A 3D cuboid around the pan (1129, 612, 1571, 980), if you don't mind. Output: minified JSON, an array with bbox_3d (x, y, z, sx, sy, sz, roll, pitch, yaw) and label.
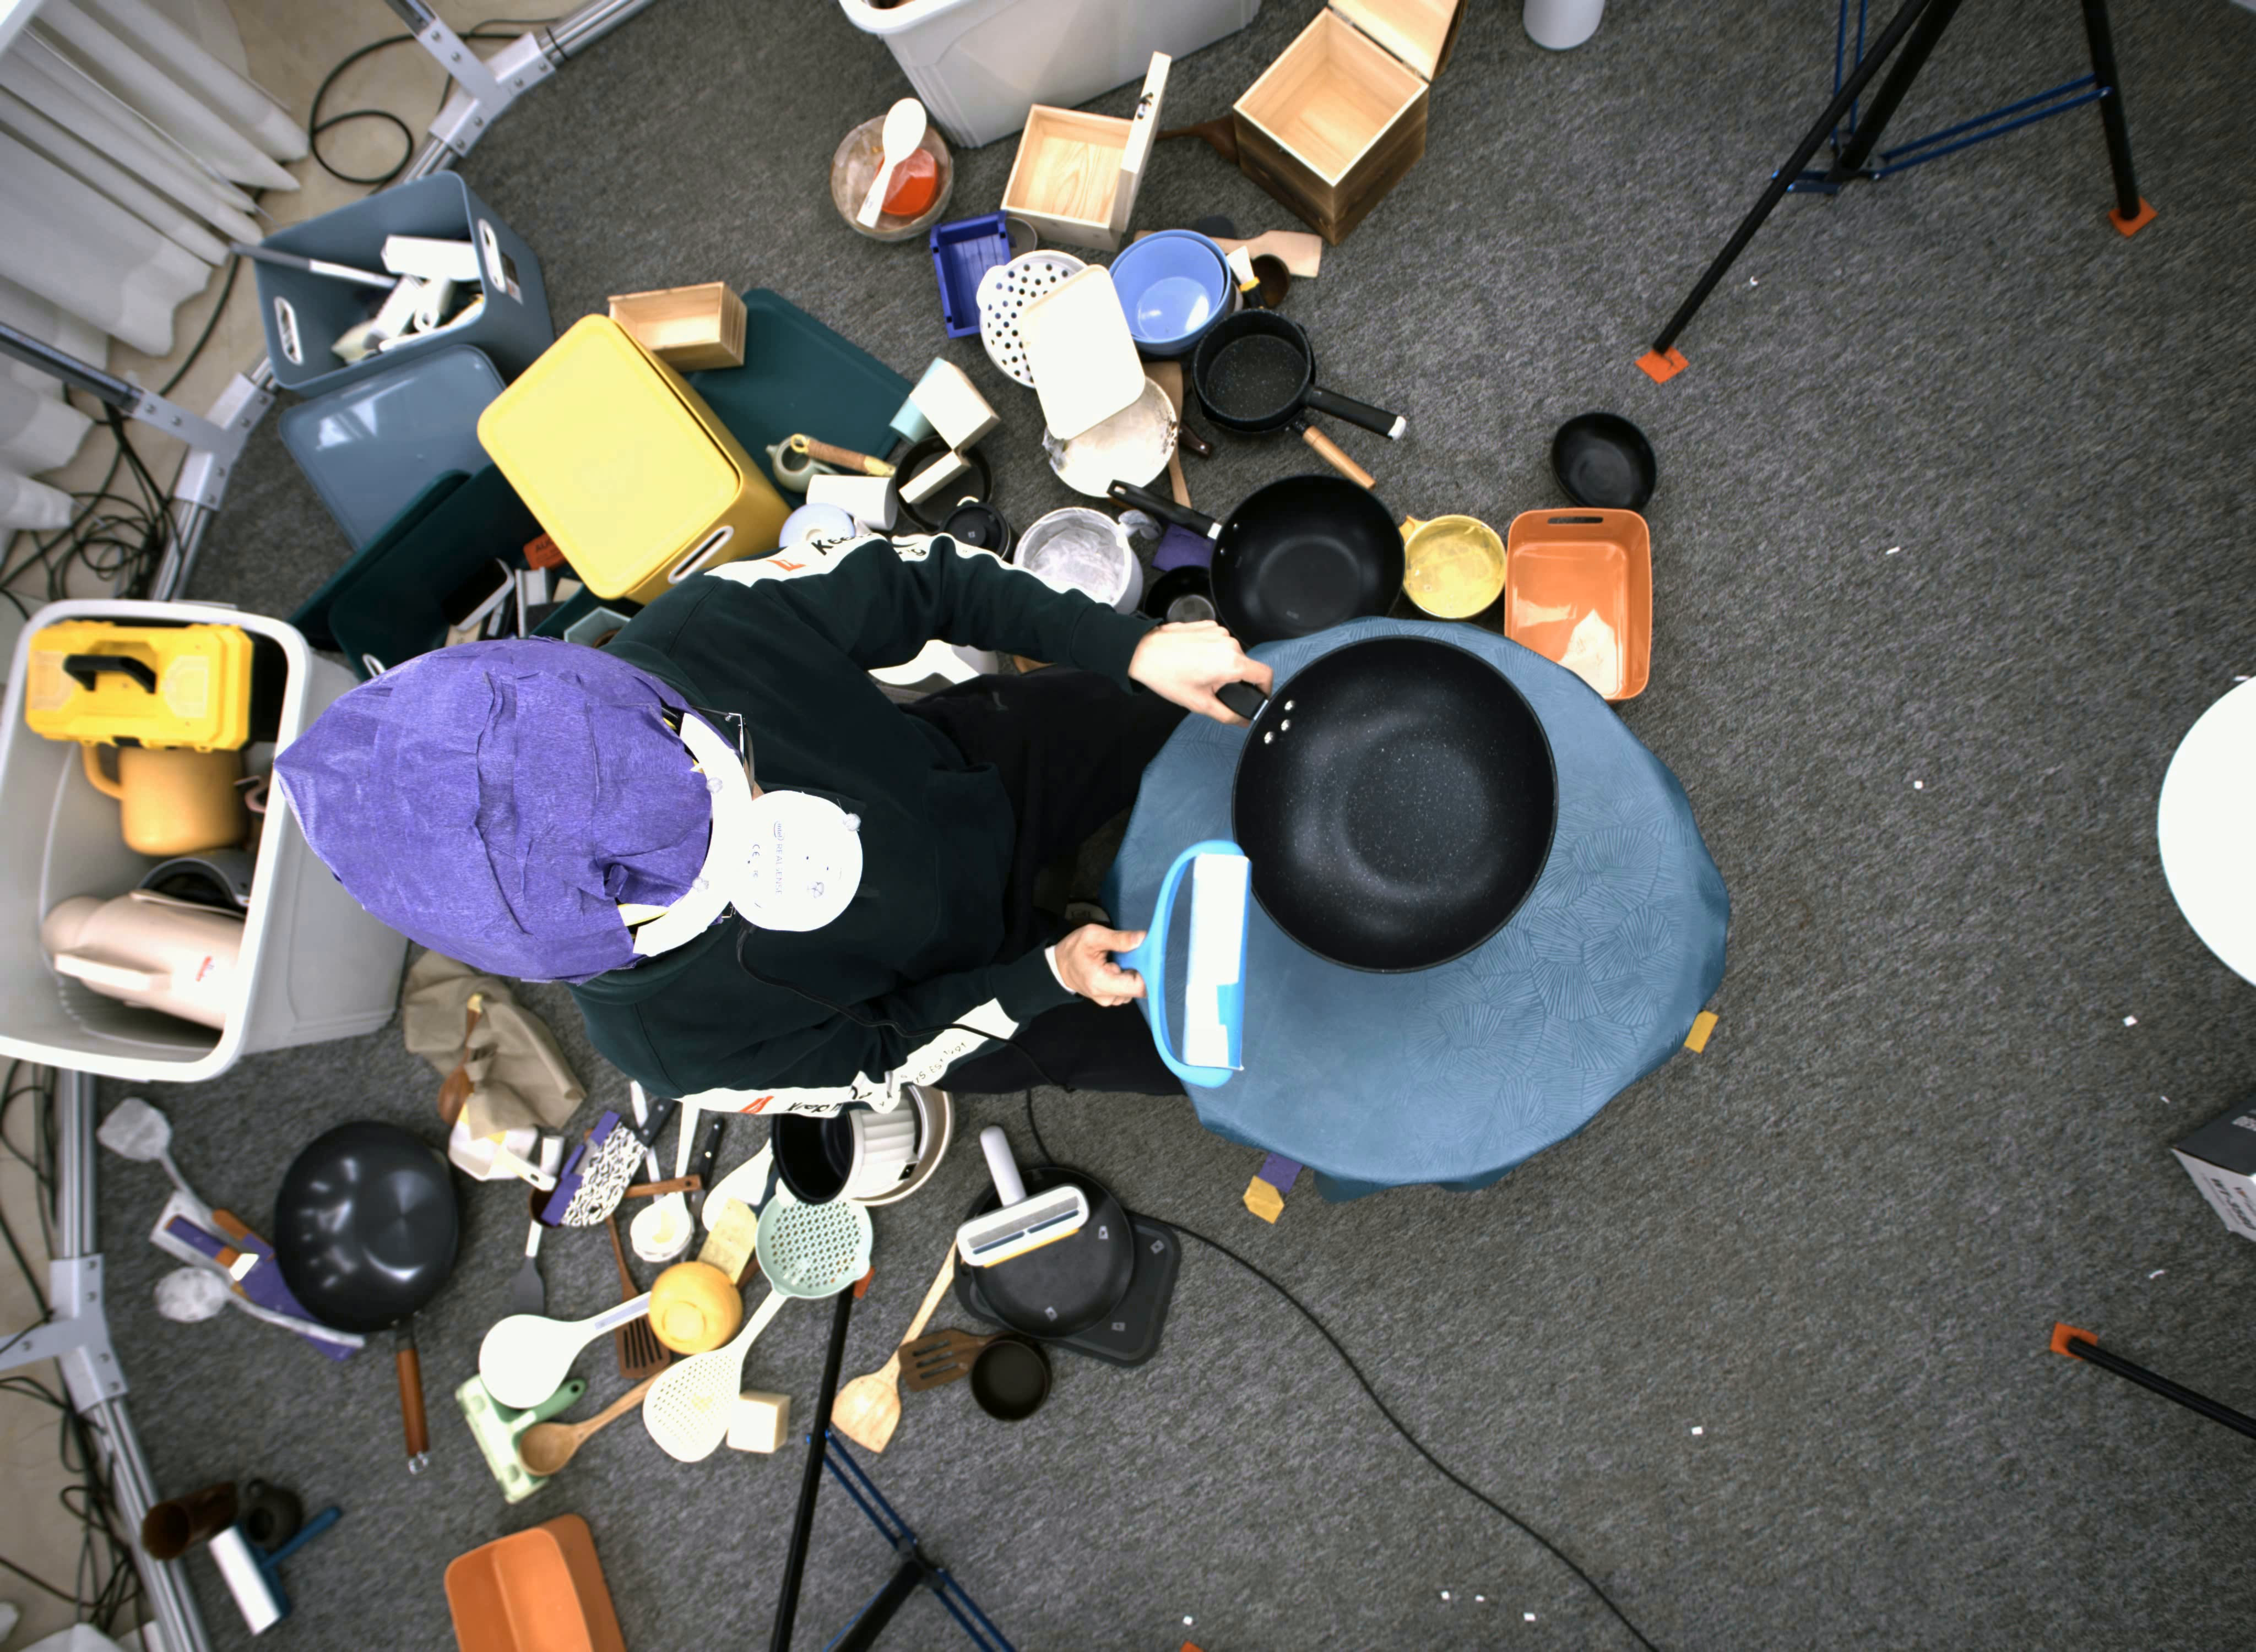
[{"bbox_3d":[0.195,-0.063,1.300,0.473,0.111,0.314,39,106,25],"label":"pan"}]

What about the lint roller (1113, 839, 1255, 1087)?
[{"bbox_3d":[0.040,0.131,1.313,0.182,0.068,0.227,-8,79,38],"label":"lint roller"}]
